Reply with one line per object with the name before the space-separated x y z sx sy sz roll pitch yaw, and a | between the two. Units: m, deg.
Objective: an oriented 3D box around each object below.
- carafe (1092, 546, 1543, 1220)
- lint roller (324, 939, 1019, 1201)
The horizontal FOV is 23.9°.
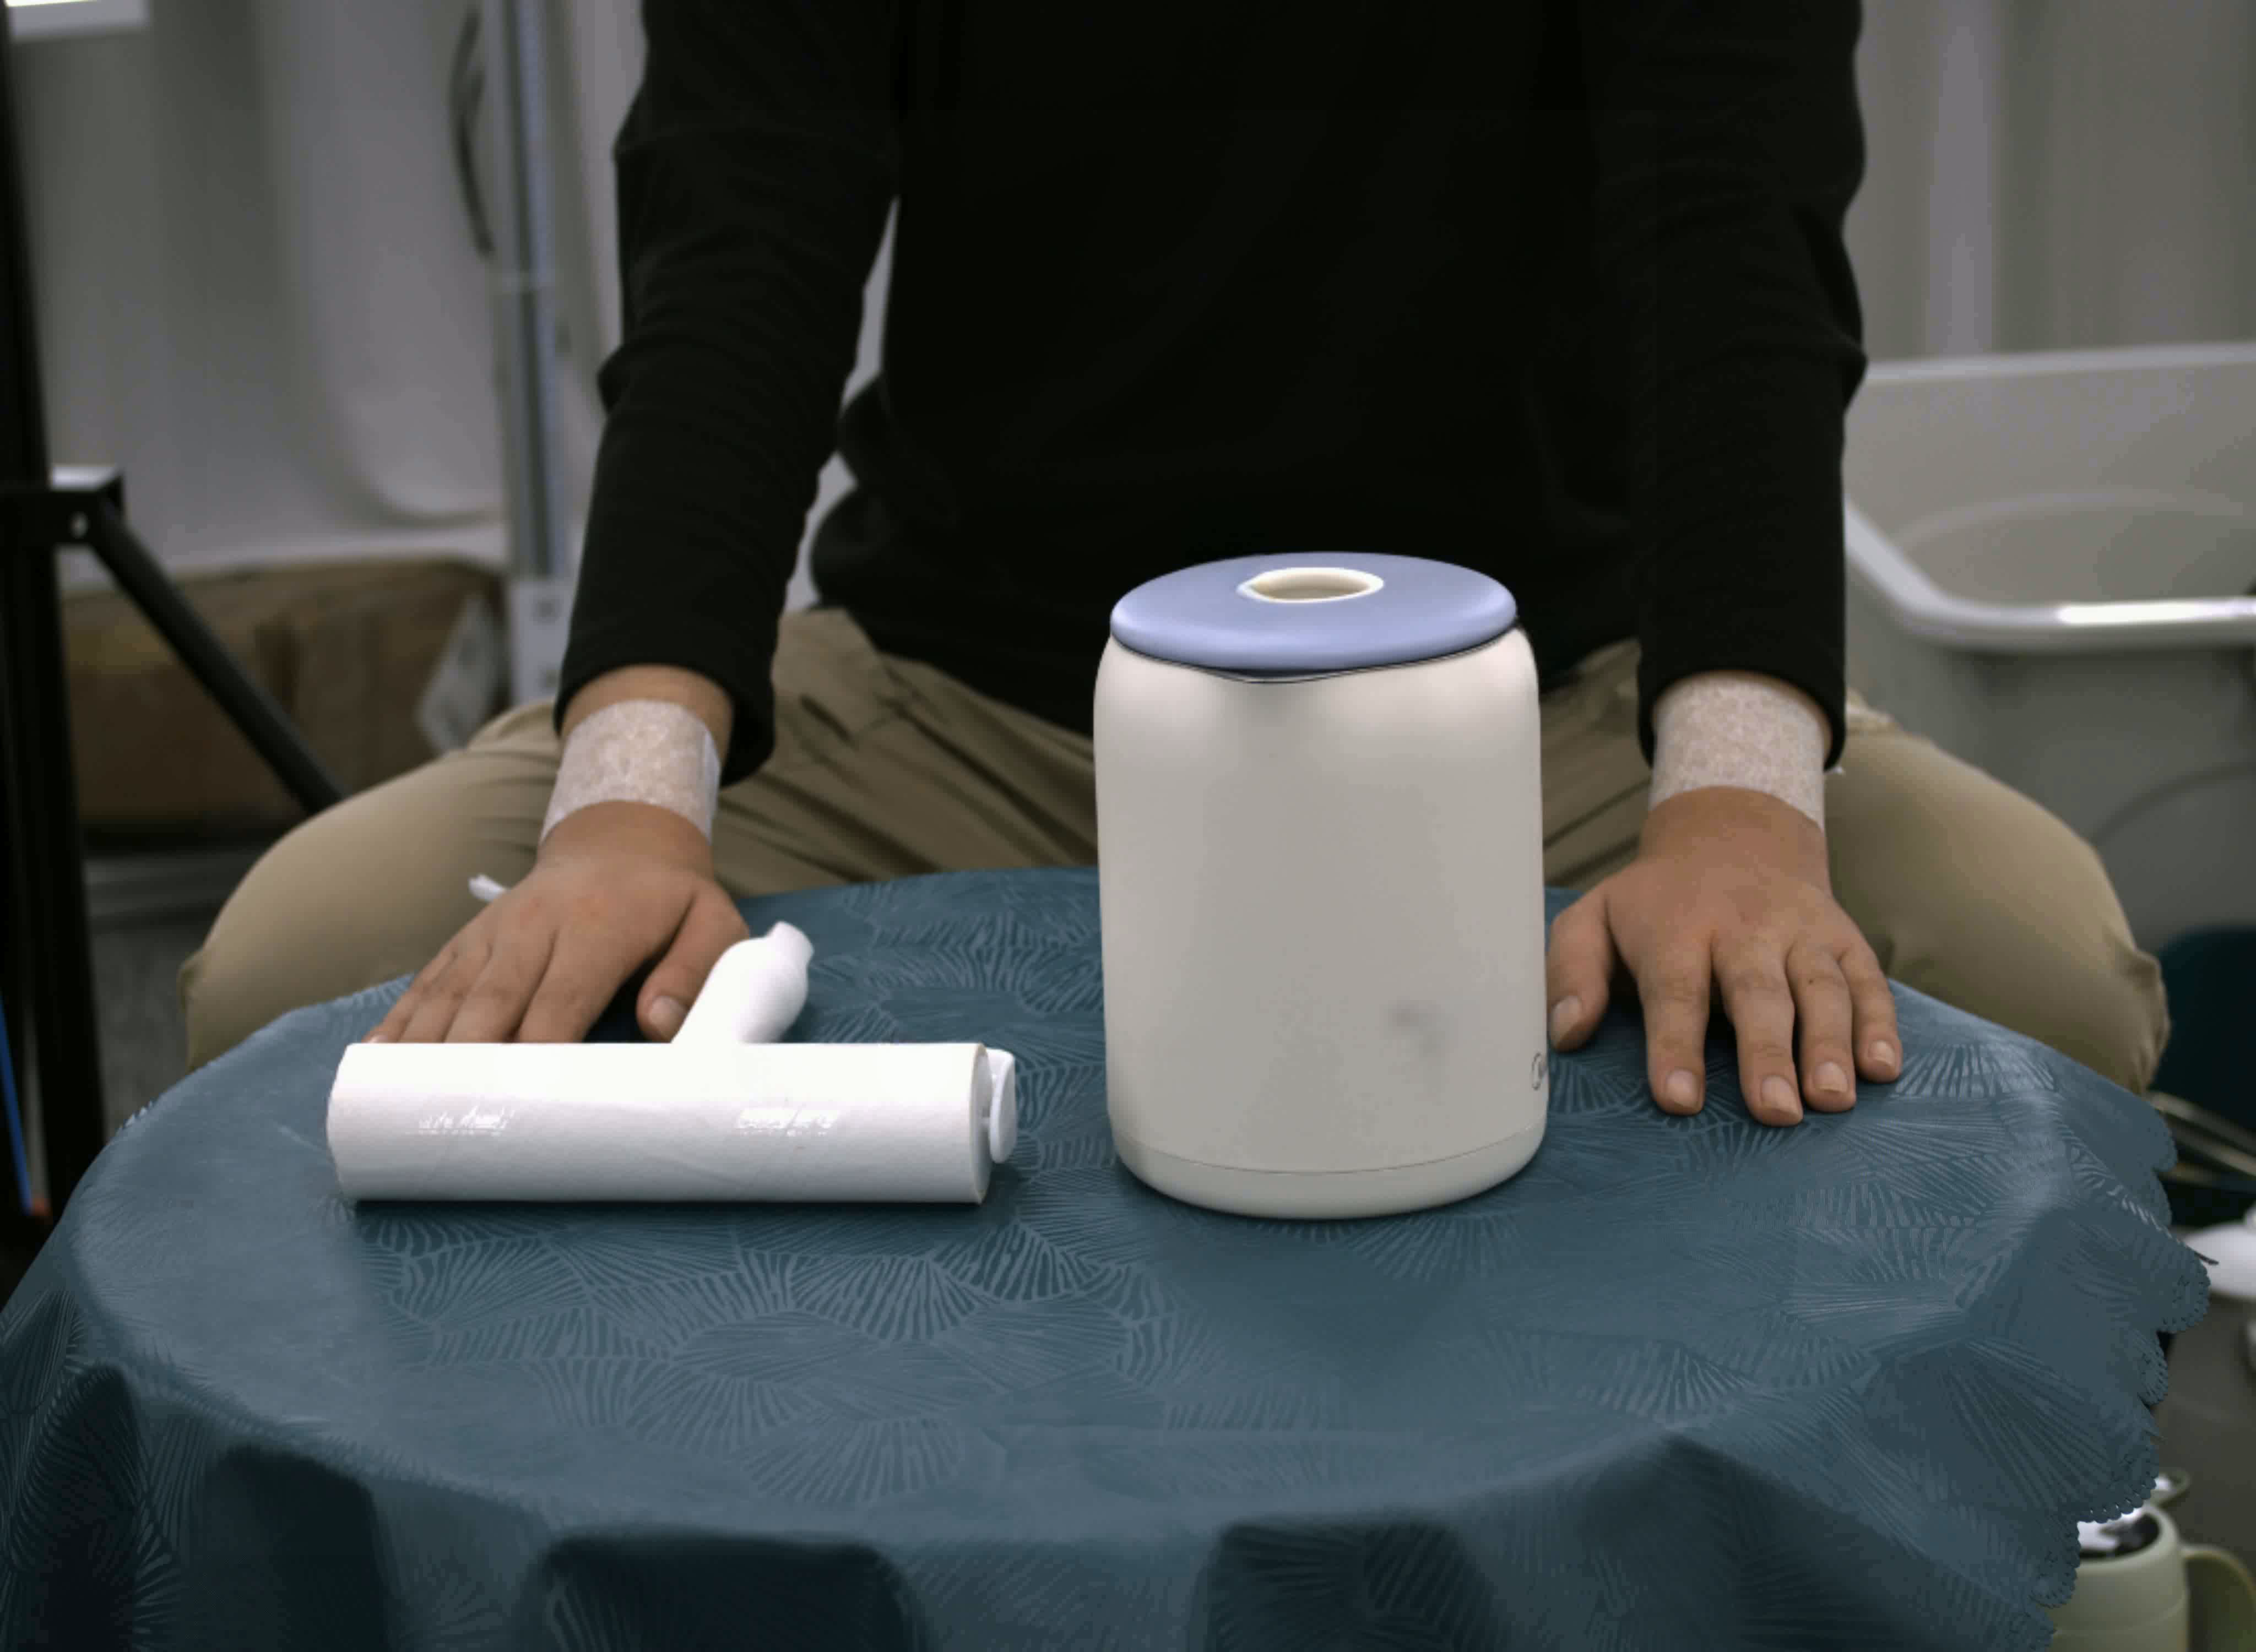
carafe | 0.061 0.010 1.581 0.133 0.182 0.190 2 14 12
lint roller | -0.127 0.064 1.656 0.203 0.048 0.225 -2 14 7
